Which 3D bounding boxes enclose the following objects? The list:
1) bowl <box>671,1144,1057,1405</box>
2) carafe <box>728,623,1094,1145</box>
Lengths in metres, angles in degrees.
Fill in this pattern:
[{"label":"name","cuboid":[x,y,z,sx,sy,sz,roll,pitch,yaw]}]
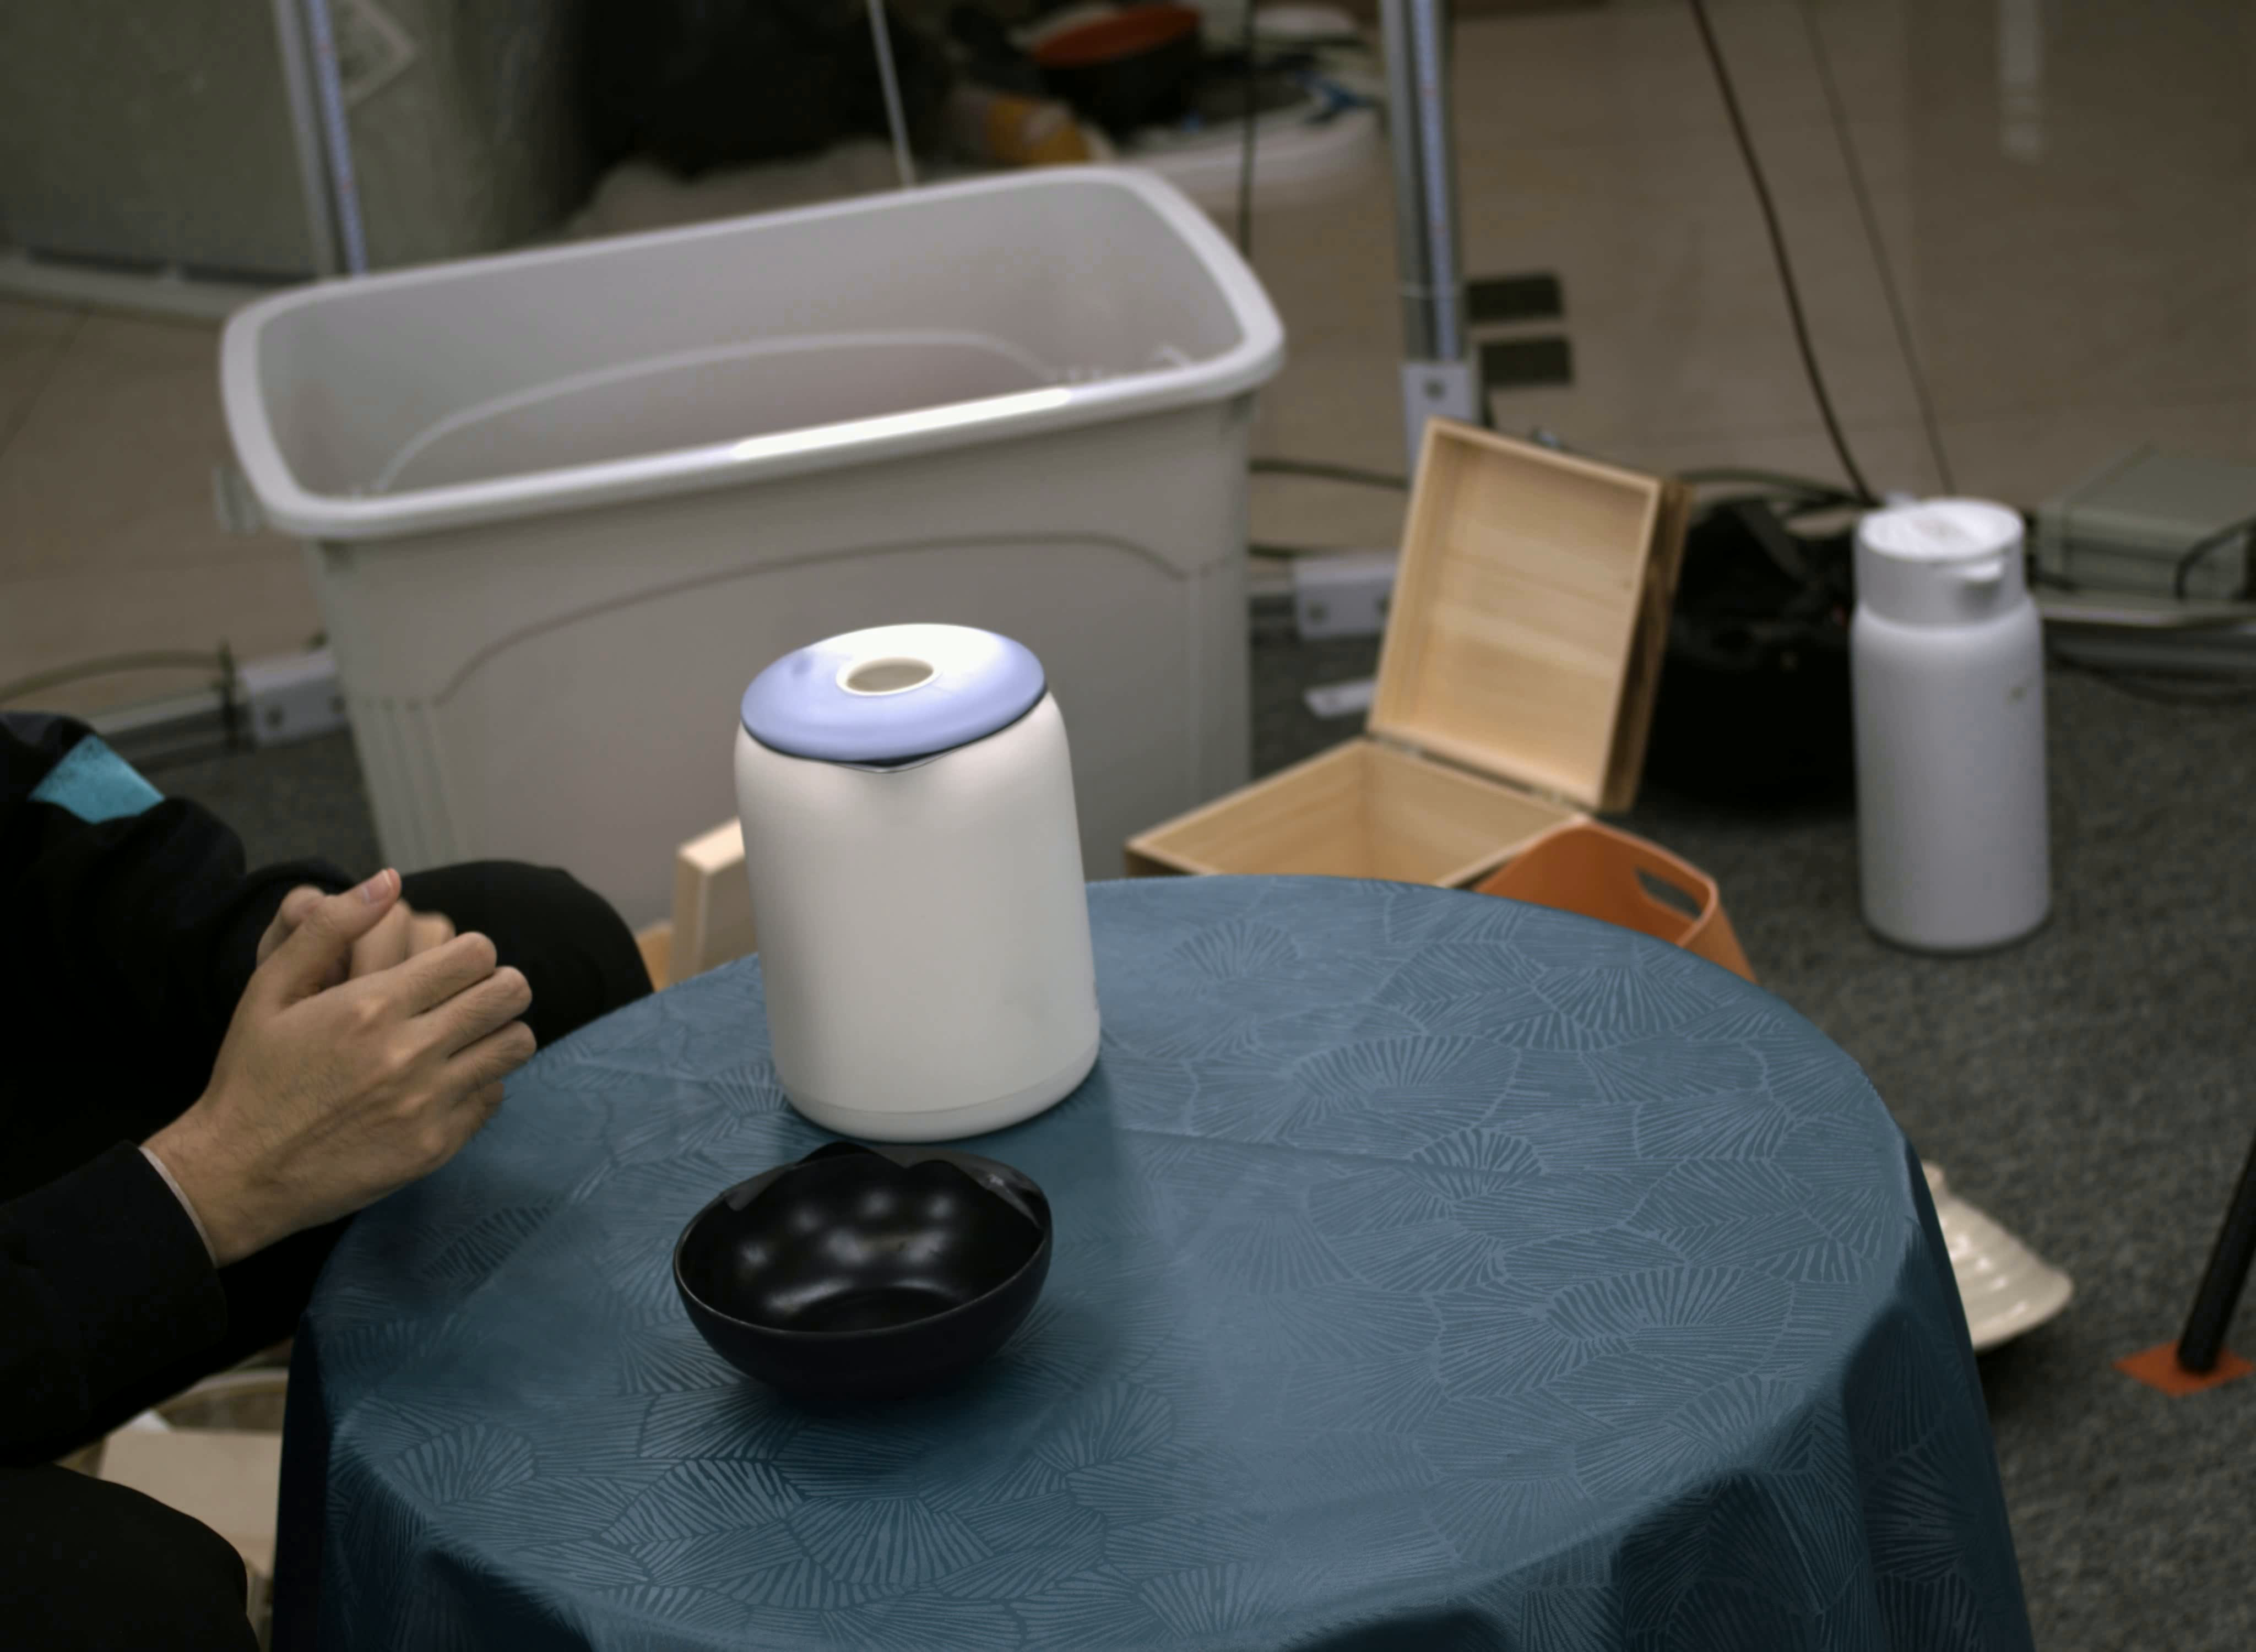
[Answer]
[{"label":"bowl","cuboid":[-0.092,0.169,2.045,0.140,0.050,0.138,-8,26,4]},{"label":"carafe","cuboid":[-0.086,0.013,2.231,0.132,0.185,0.188,-6,23,-2]}]
